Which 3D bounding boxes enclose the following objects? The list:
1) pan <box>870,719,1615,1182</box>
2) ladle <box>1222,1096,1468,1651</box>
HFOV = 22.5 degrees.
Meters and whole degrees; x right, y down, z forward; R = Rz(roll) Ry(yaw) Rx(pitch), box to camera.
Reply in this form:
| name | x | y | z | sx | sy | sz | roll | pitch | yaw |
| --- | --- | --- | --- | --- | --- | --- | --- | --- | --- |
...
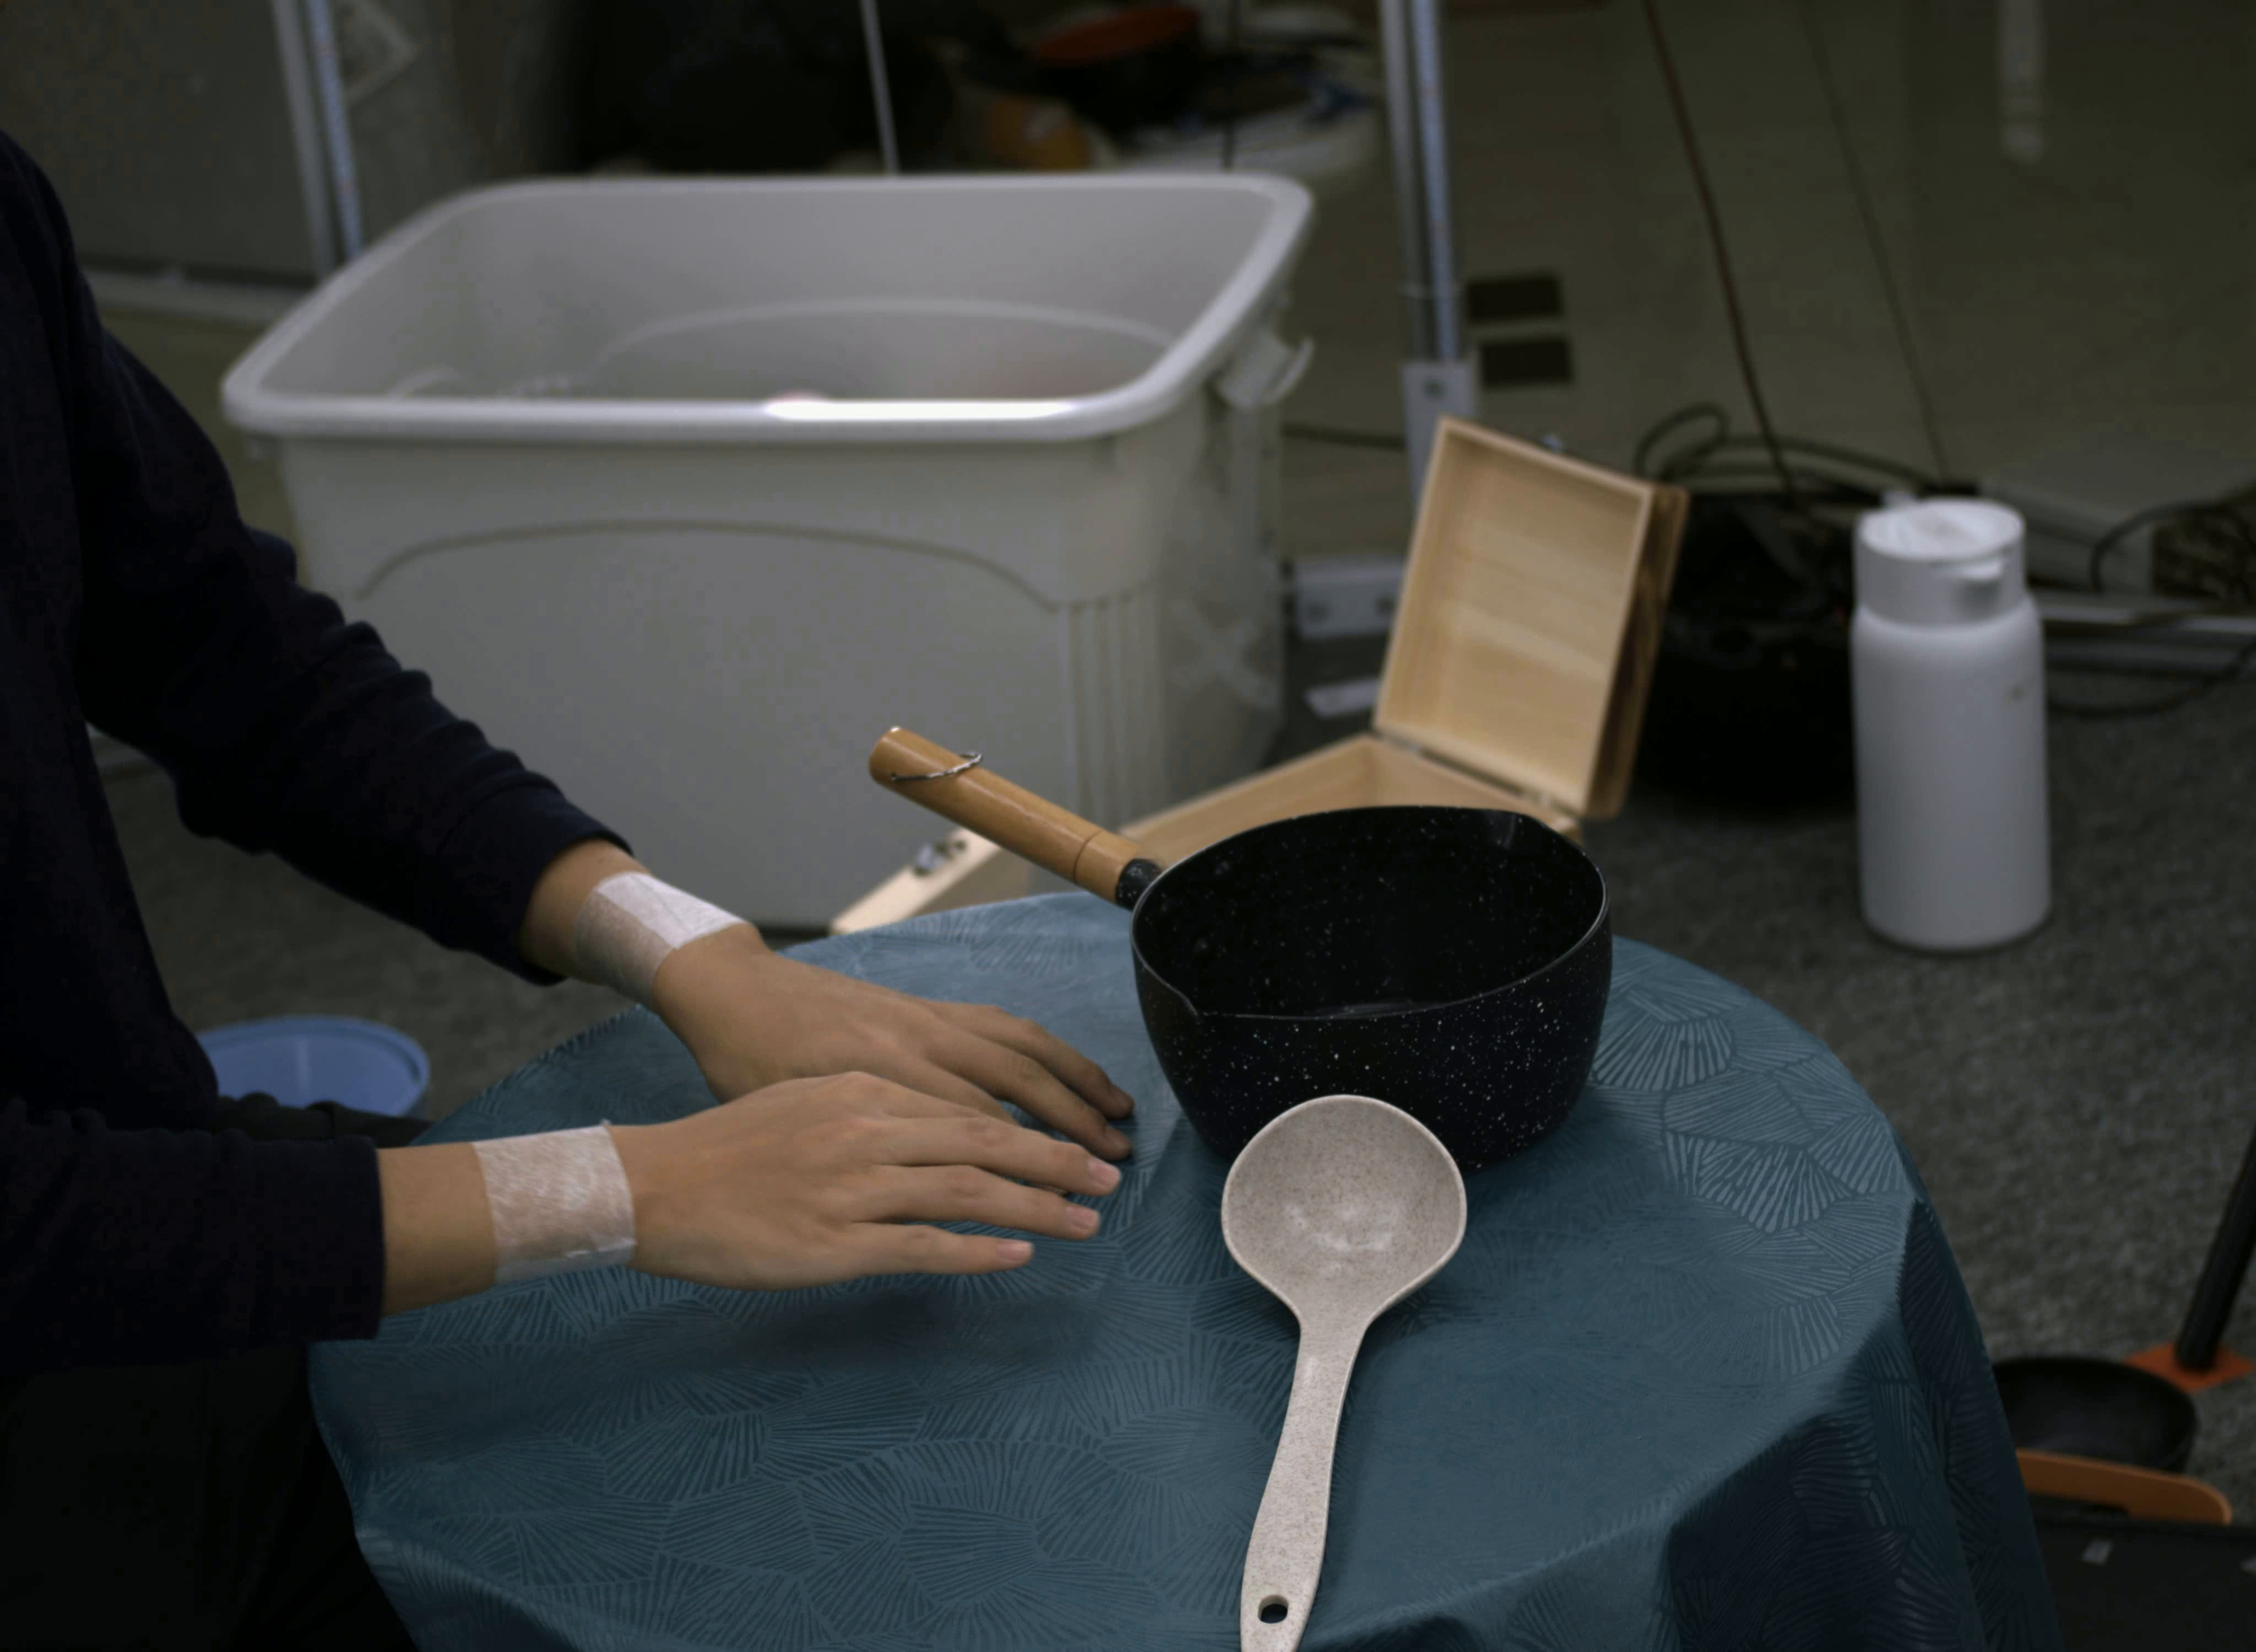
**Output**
| name | x | y | z | sx | sy | sz | roll | pitch | yaw |
| --- | --- | --- | --- | --- | --- | --- | --- | --- | --- |
| pan | 0.033 | 0.043 | 2.215 | 0.340 | 0.110 | 0.205 | 15 | 34 | 36 |
| ladle | 0.062 | 0.186 | 1.951 | 0.089 | 0.070 | 0.271 | 4 | 26 | 8 |
